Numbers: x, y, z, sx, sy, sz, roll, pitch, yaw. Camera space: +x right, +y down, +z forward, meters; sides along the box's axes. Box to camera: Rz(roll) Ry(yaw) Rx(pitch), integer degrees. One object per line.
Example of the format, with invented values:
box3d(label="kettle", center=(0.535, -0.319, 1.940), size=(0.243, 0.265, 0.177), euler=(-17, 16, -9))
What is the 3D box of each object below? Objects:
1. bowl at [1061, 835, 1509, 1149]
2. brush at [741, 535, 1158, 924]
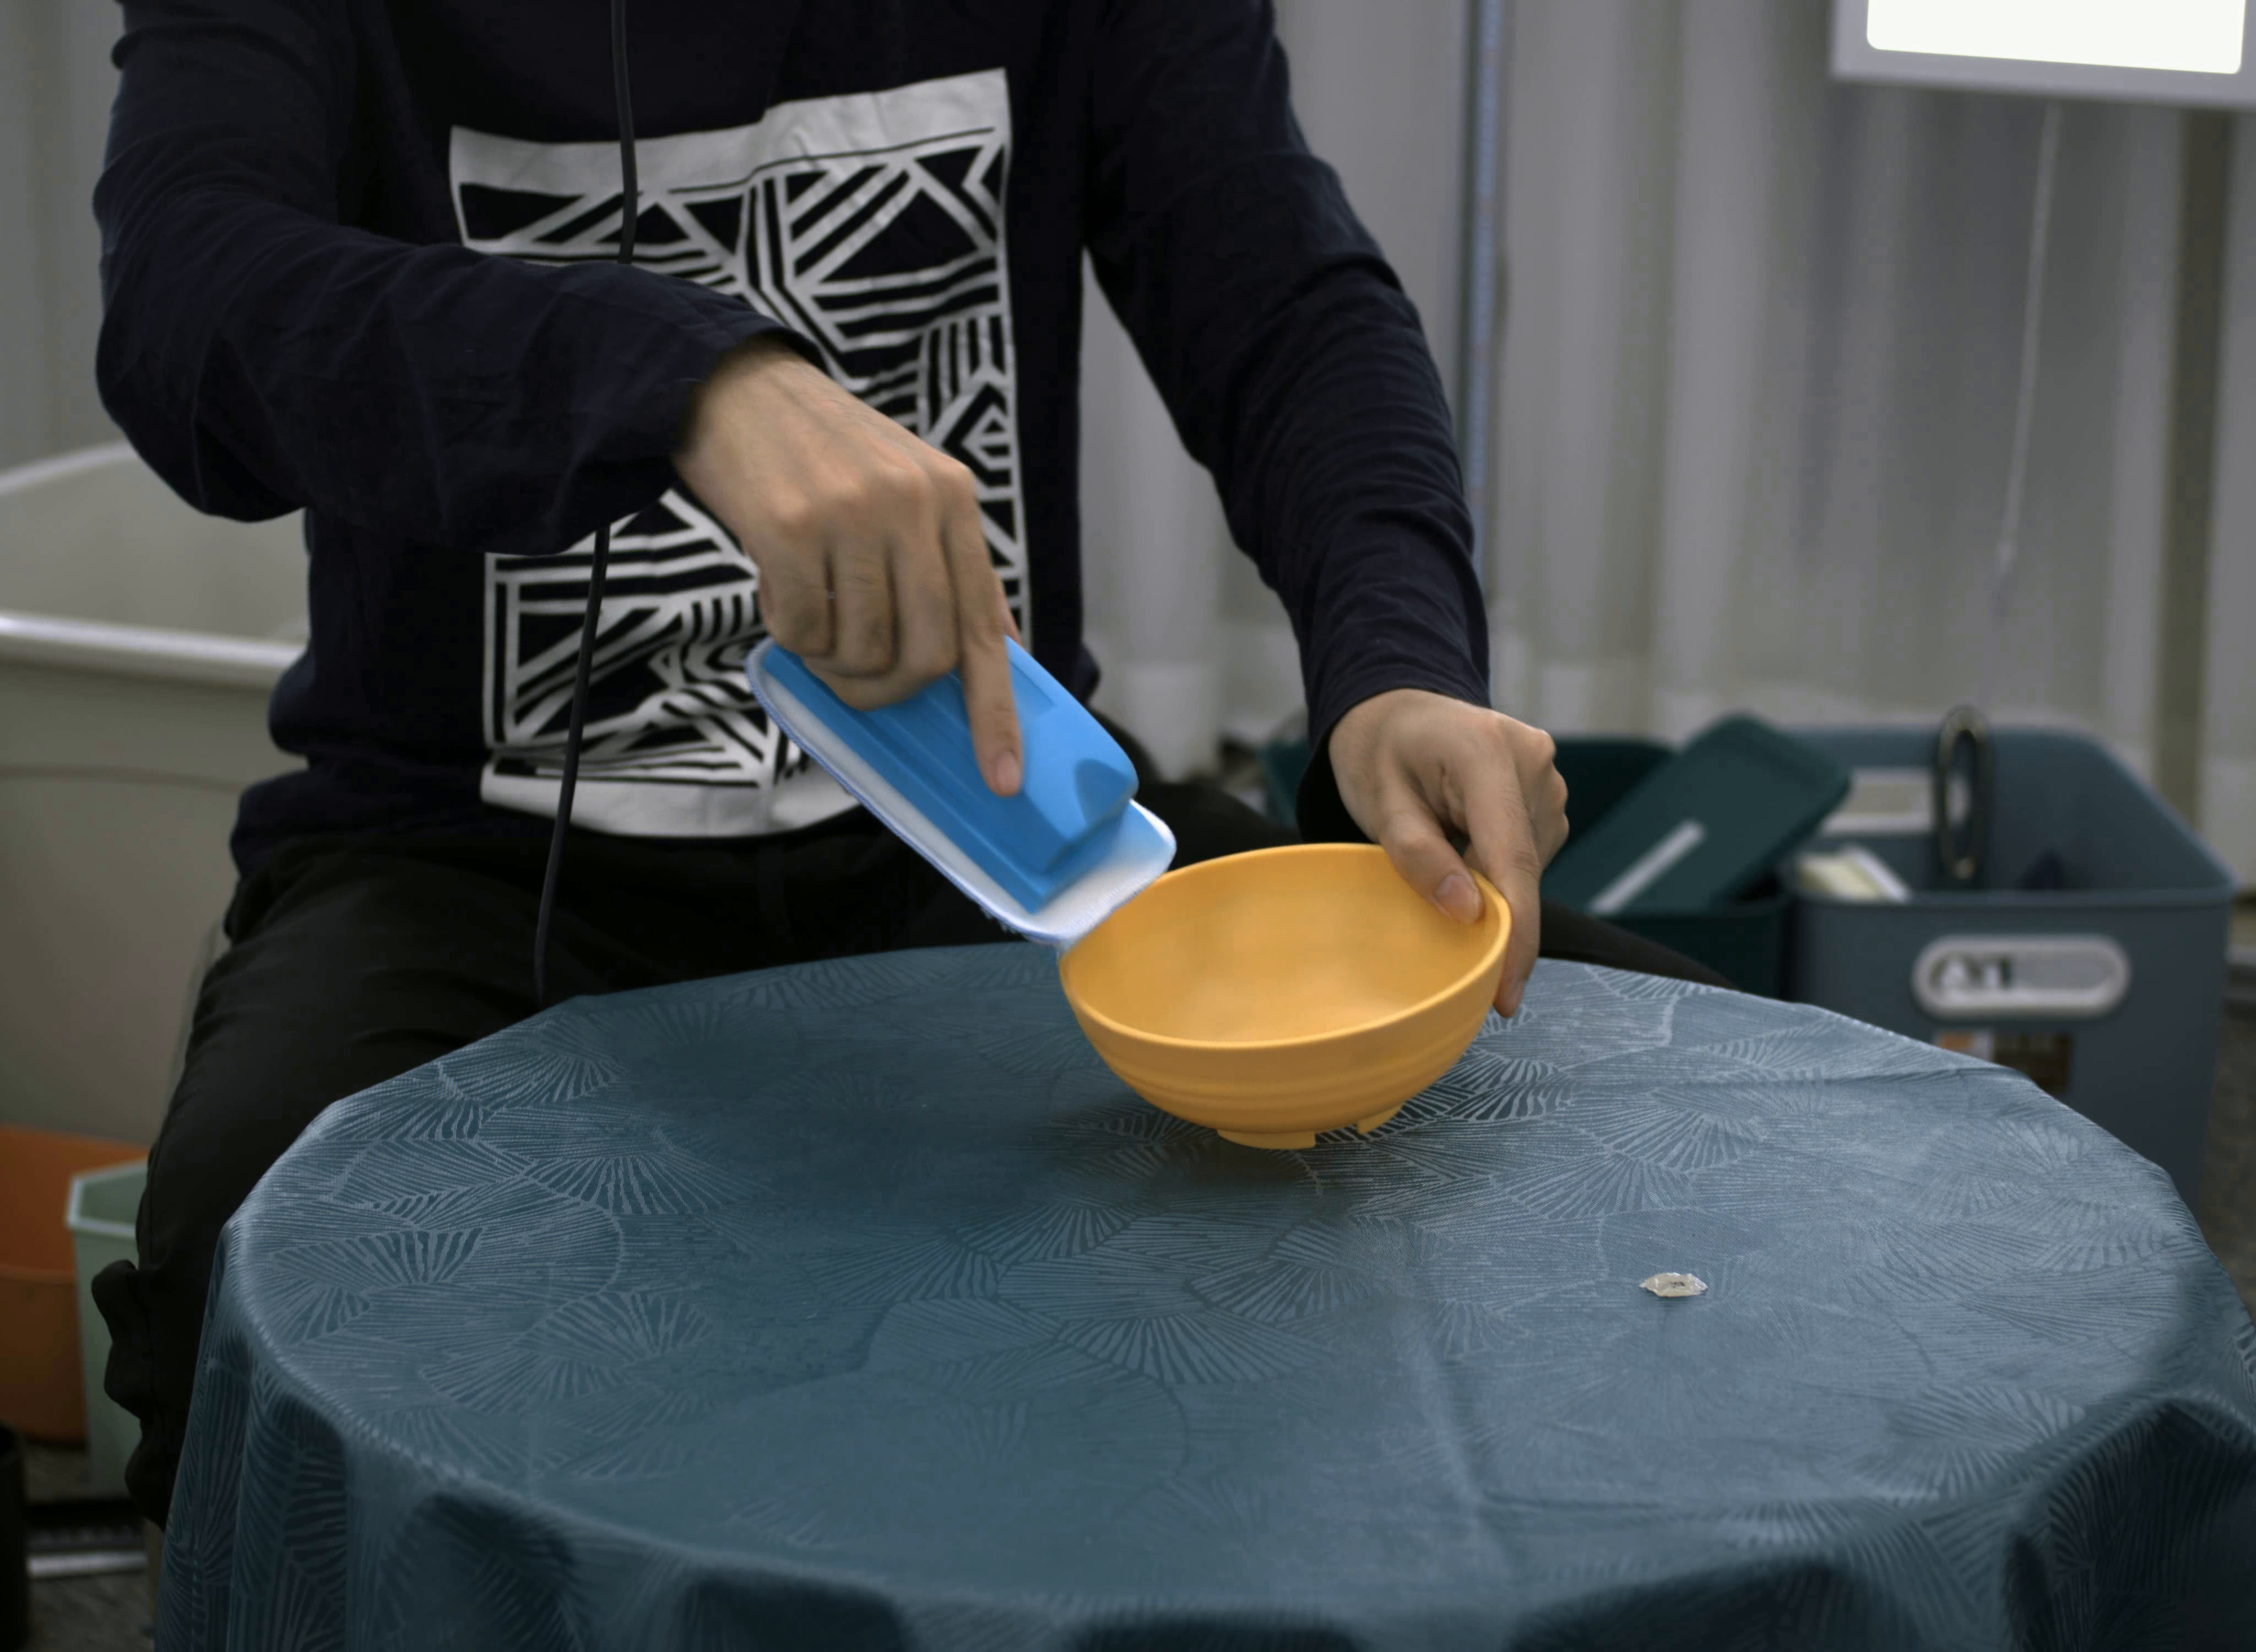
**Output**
box3d(label="bowl", center=(0.053, 0.061, 1.680), size=(0.145, 0.061, 0.144), euler=(-6, 26, 3))
box3d(label="brush", center=(-0.050, -0.038, 1.656), size=(0.143, 0.056, 0.084), euler=(46, 43, 10))
